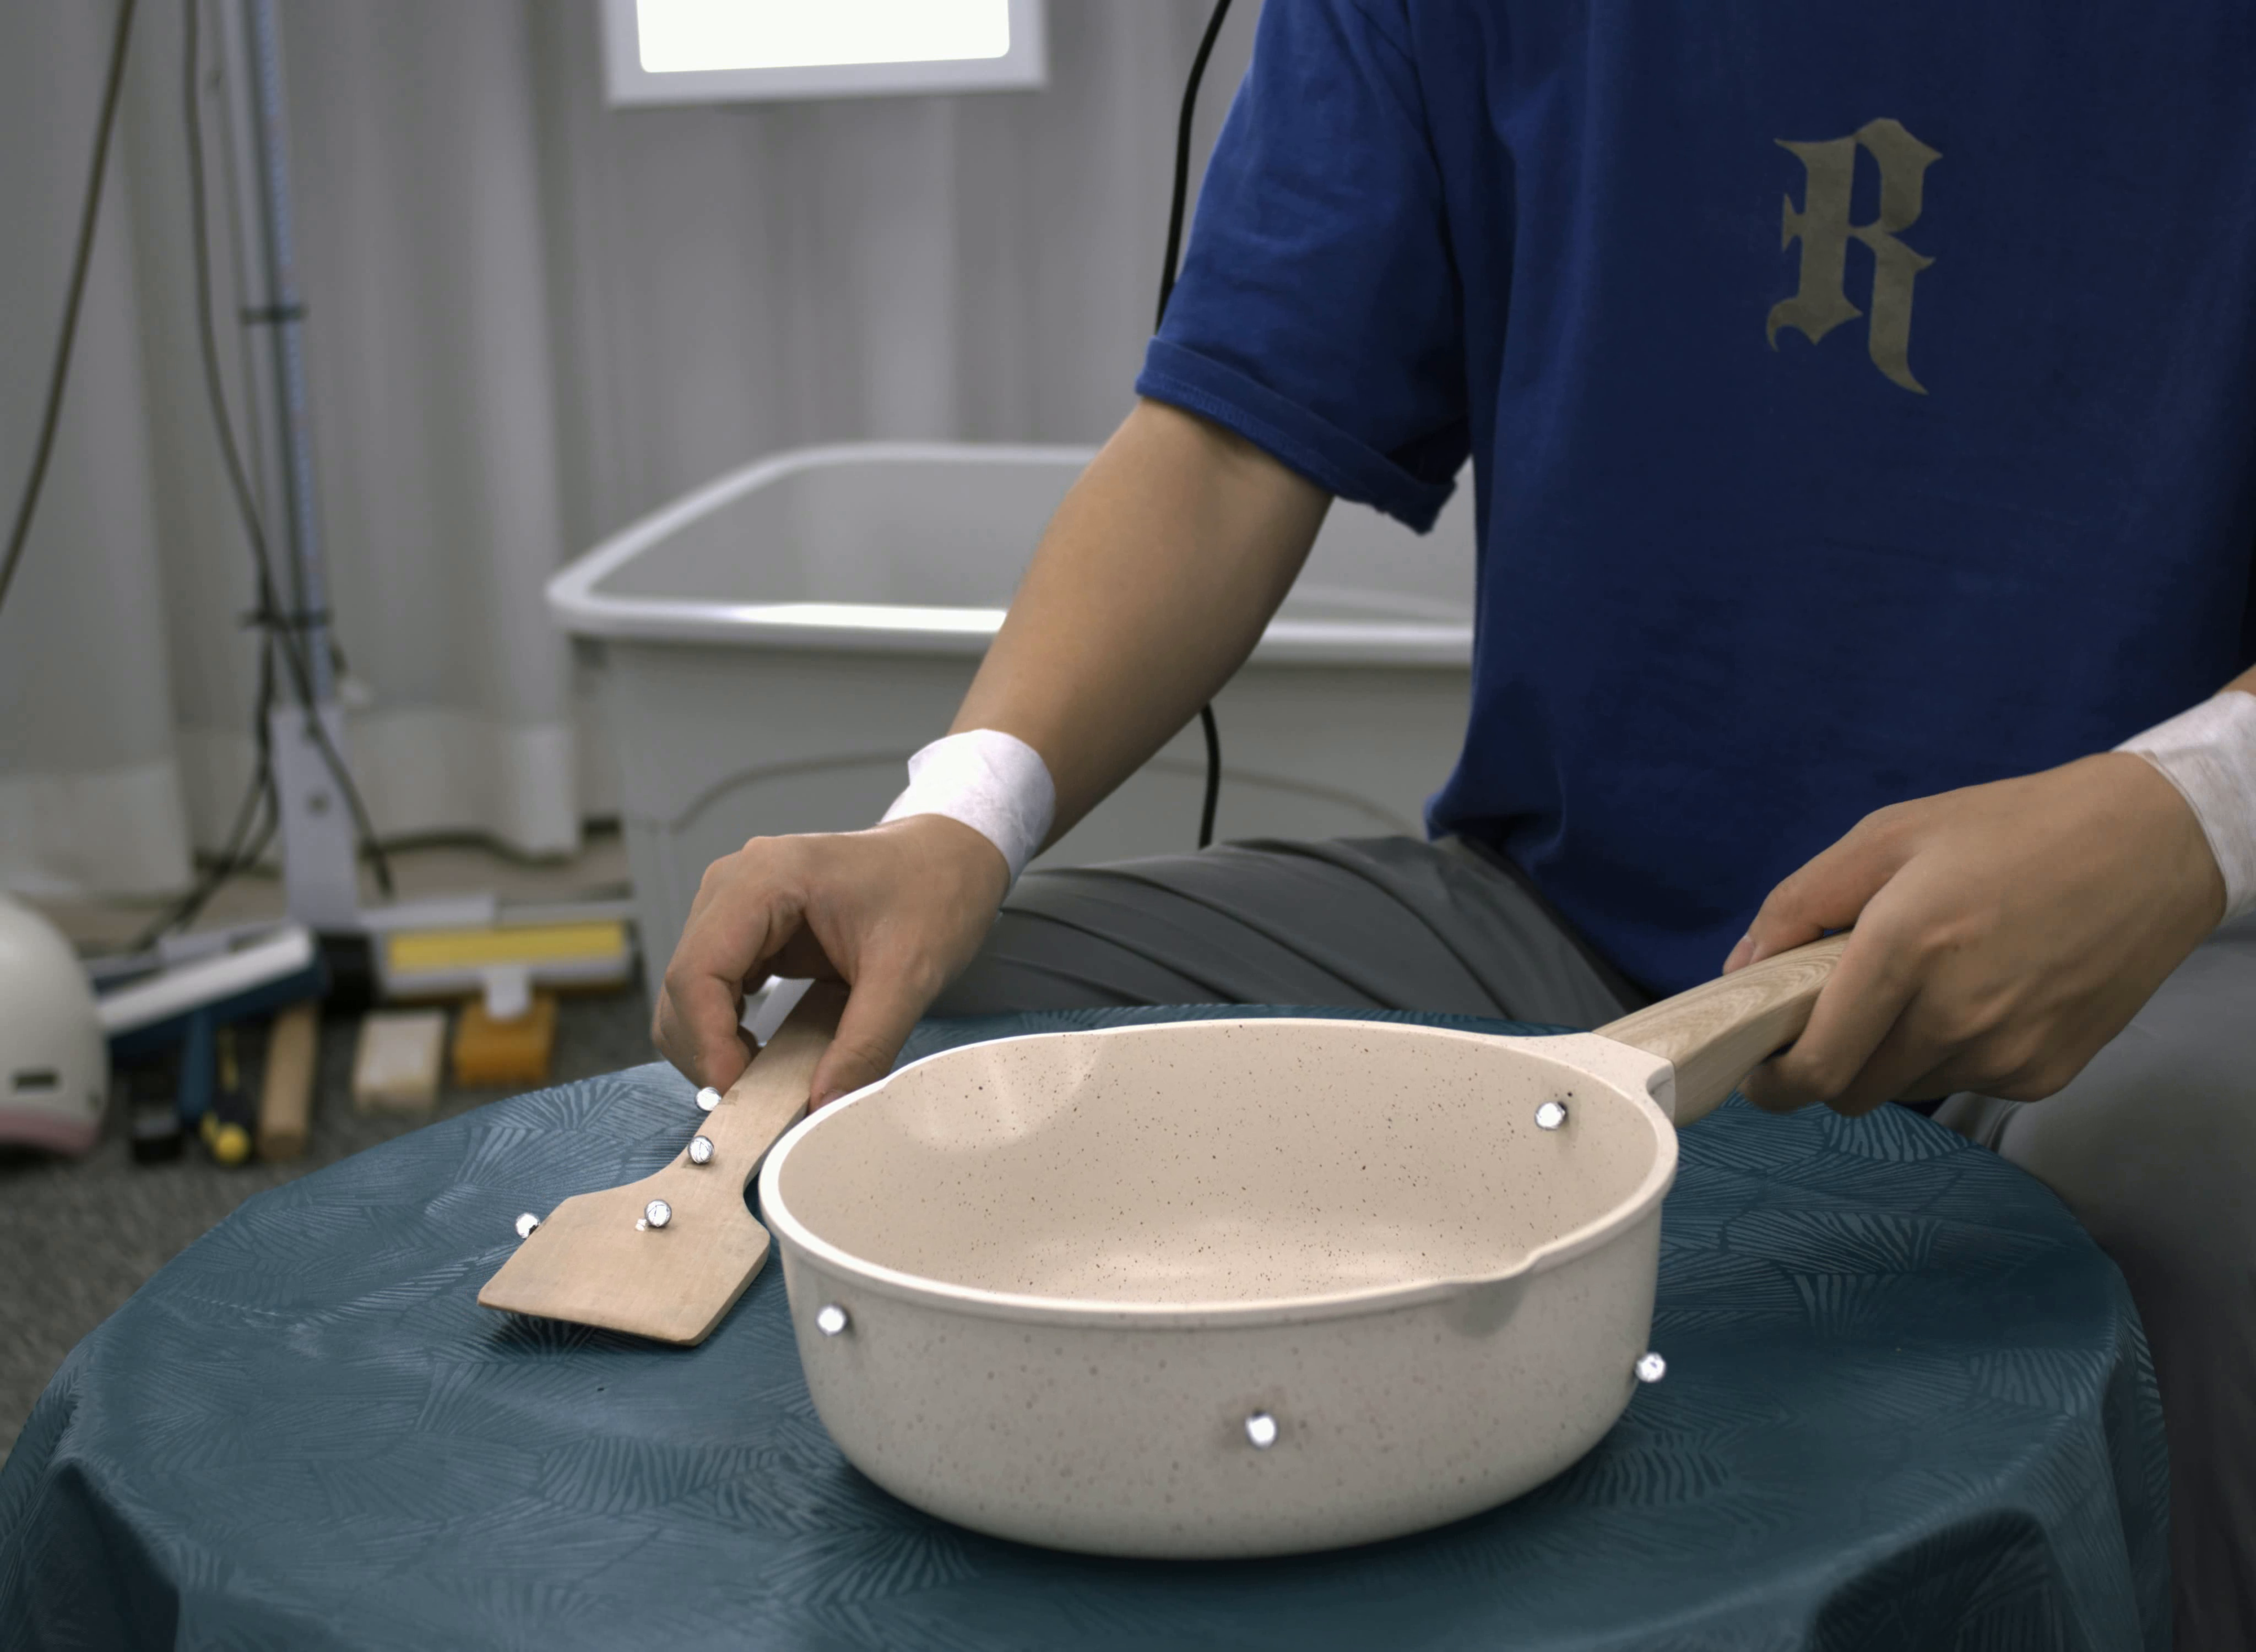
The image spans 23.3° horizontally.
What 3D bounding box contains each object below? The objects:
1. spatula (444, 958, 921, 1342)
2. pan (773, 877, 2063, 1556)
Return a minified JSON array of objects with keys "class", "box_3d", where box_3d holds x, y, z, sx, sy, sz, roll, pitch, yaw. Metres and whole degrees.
[{"class":"spatula","box_3d":[-0.127,0.097,1.735,0.072,0.010,0.294,9,22,16]},{"class":"pan","box_3d":[0.105,0.104,1.540,0.433,0.101,0.265,-12,15,-33]}]
